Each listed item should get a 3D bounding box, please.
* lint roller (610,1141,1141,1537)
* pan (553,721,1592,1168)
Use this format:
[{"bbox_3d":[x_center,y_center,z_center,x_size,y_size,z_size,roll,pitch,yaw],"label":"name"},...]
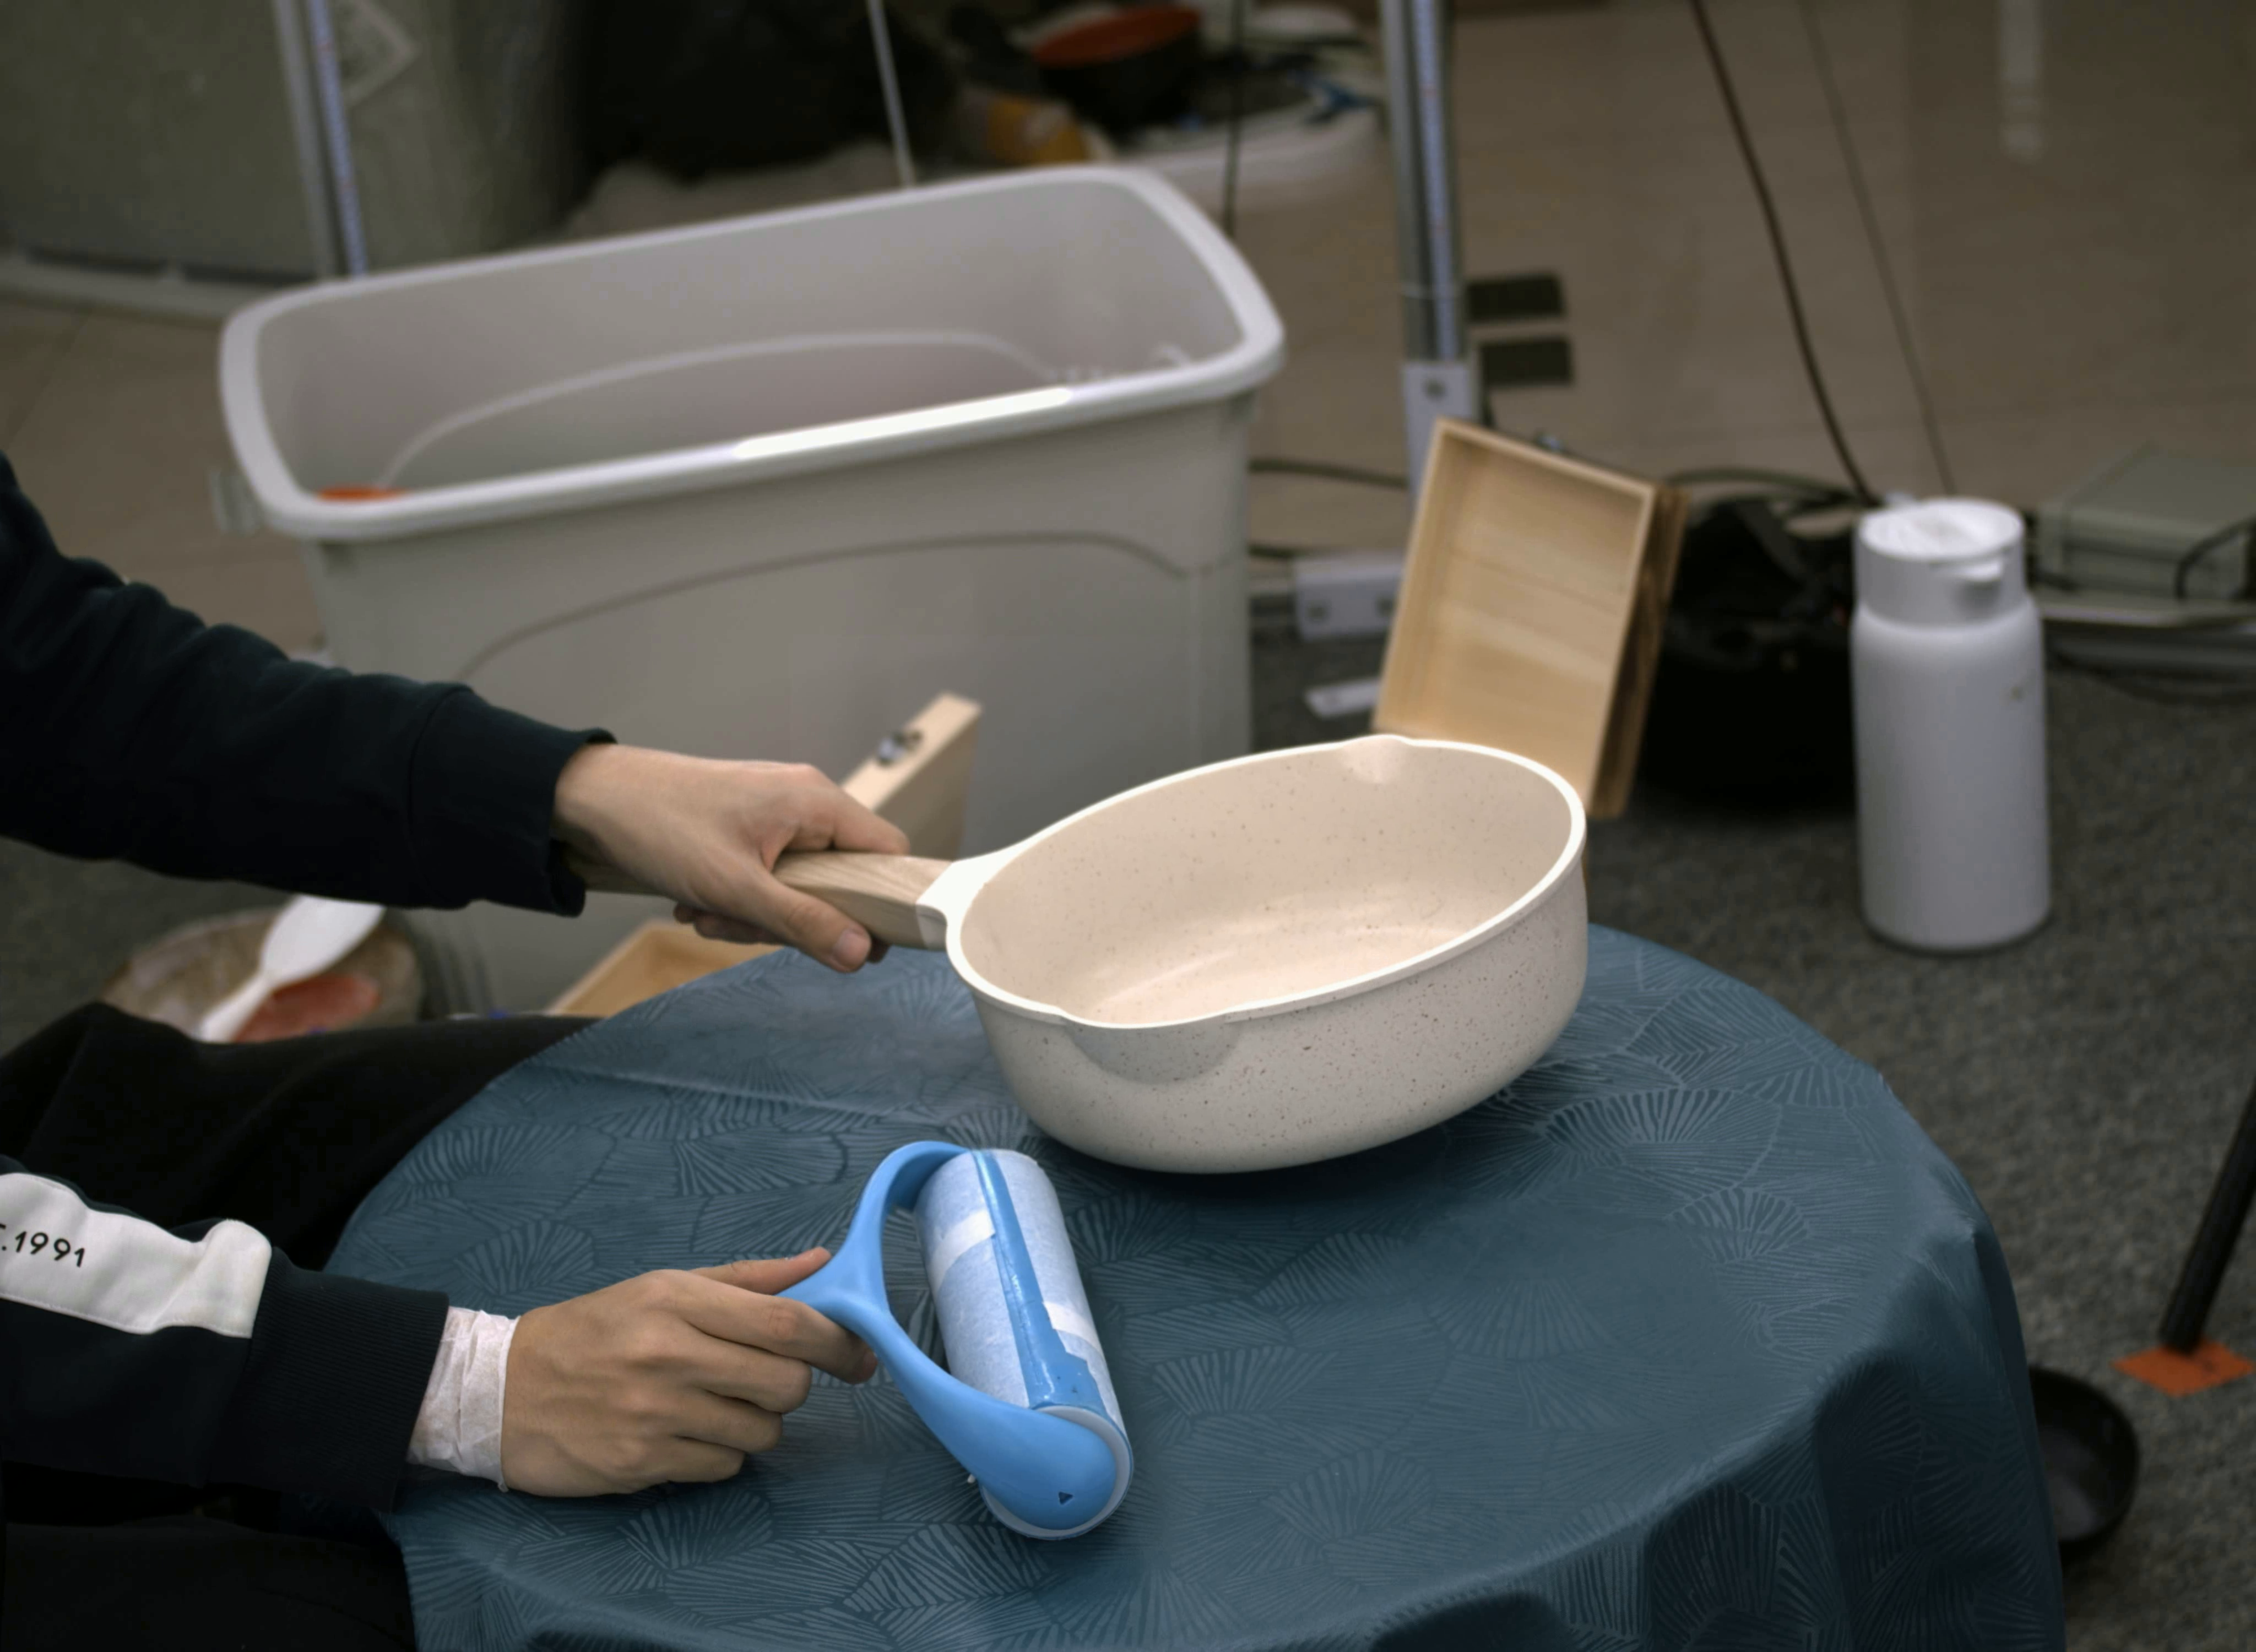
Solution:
[{"bbox_3d":[-0.096,0.188,1.995,0.180,0.069,0.225,-9,26,-8],"label":"lint roller"},{"bbox_3d":[-0.023,0.048,2.226,0.434,0.103,0.260,-3,25,26],"label":"pan"}]
